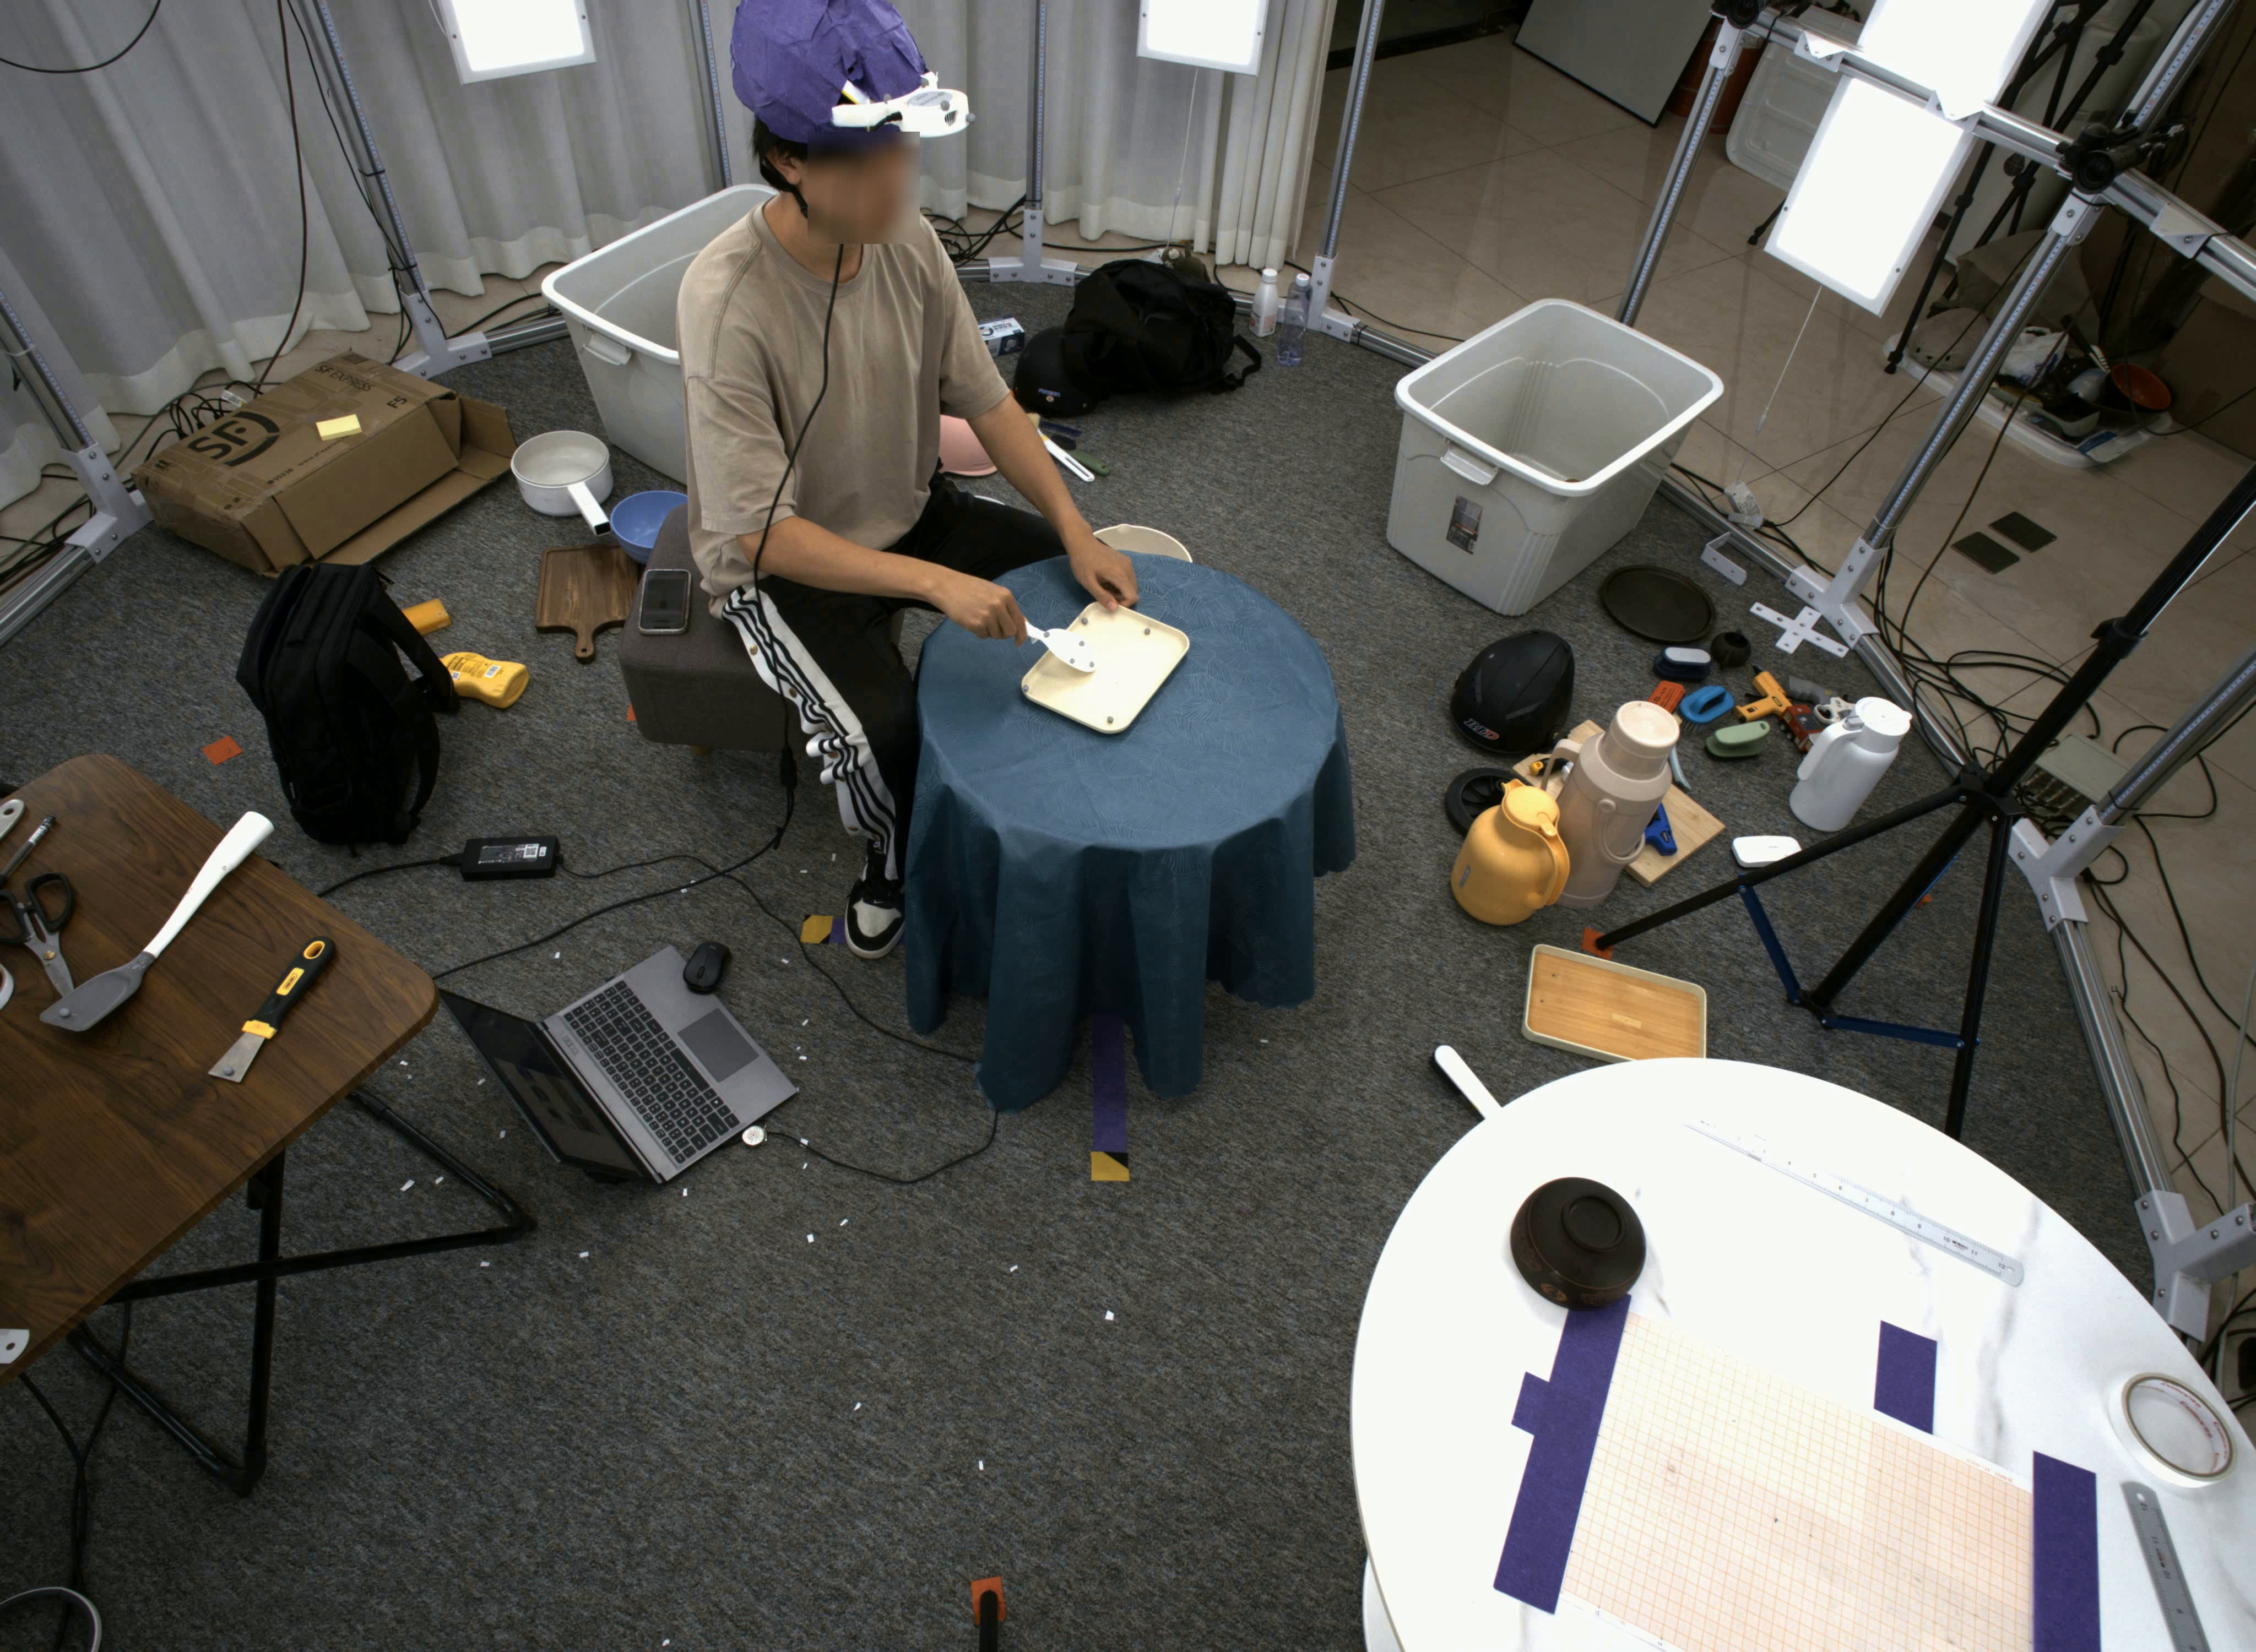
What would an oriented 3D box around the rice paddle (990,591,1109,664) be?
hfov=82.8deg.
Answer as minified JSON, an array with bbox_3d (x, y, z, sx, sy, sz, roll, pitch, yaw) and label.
[{"bbox_3d":[-0.102,-0.277,1.795,0.202,0.029,0.070,19,45,-37],"label":"rice paddle"}]

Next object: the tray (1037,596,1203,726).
[{"bbox_3d":[-0.009,-0.239,1.849,0.172,0.017,0.243,25,51,15],"label":"tray"}]
